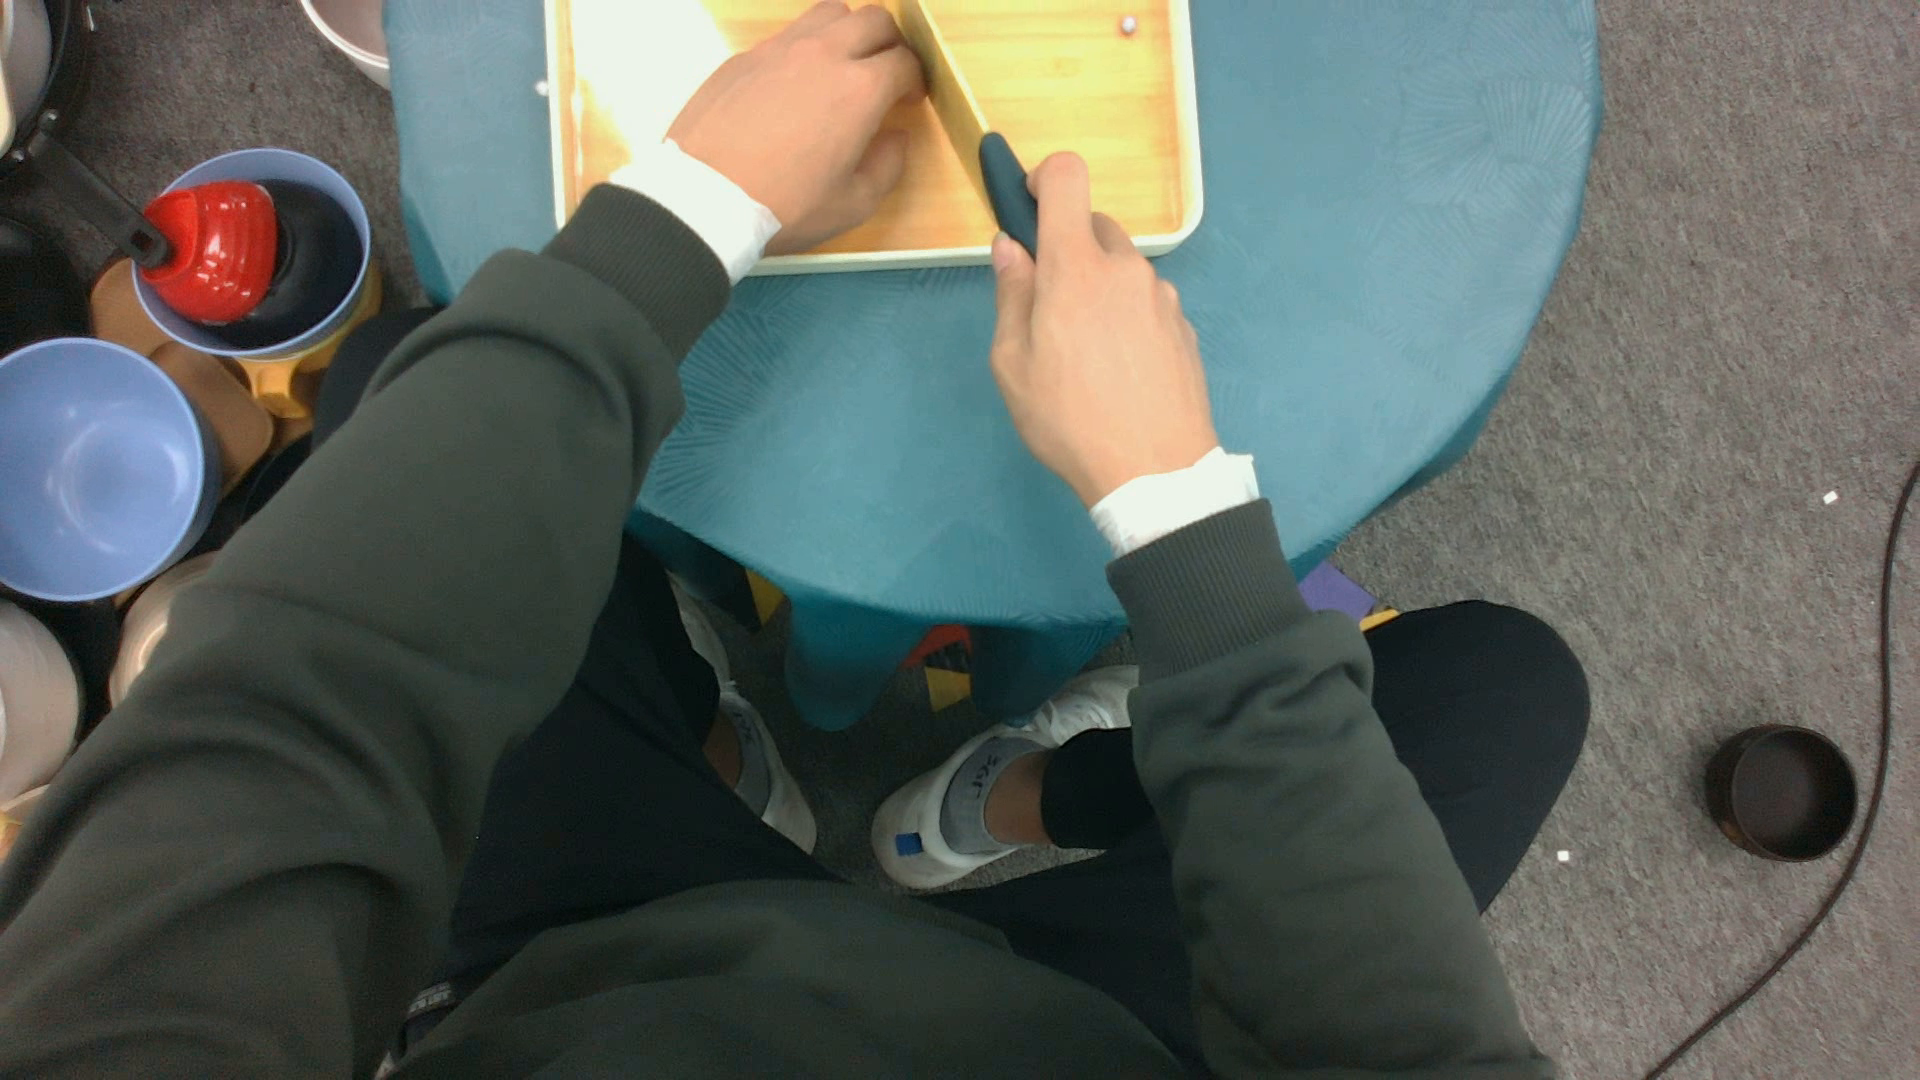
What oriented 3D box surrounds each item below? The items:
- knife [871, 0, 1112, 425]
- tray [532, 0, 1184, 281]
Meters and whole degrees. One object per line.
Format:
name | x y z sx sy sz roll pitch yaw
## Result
knife | -0.002 -0.176 0.617 0.027 0.081 0.290 -25 77 -2
tray | -0.048 -0.226 0.660 0.300 0.027 0.191 -4 86 -5
